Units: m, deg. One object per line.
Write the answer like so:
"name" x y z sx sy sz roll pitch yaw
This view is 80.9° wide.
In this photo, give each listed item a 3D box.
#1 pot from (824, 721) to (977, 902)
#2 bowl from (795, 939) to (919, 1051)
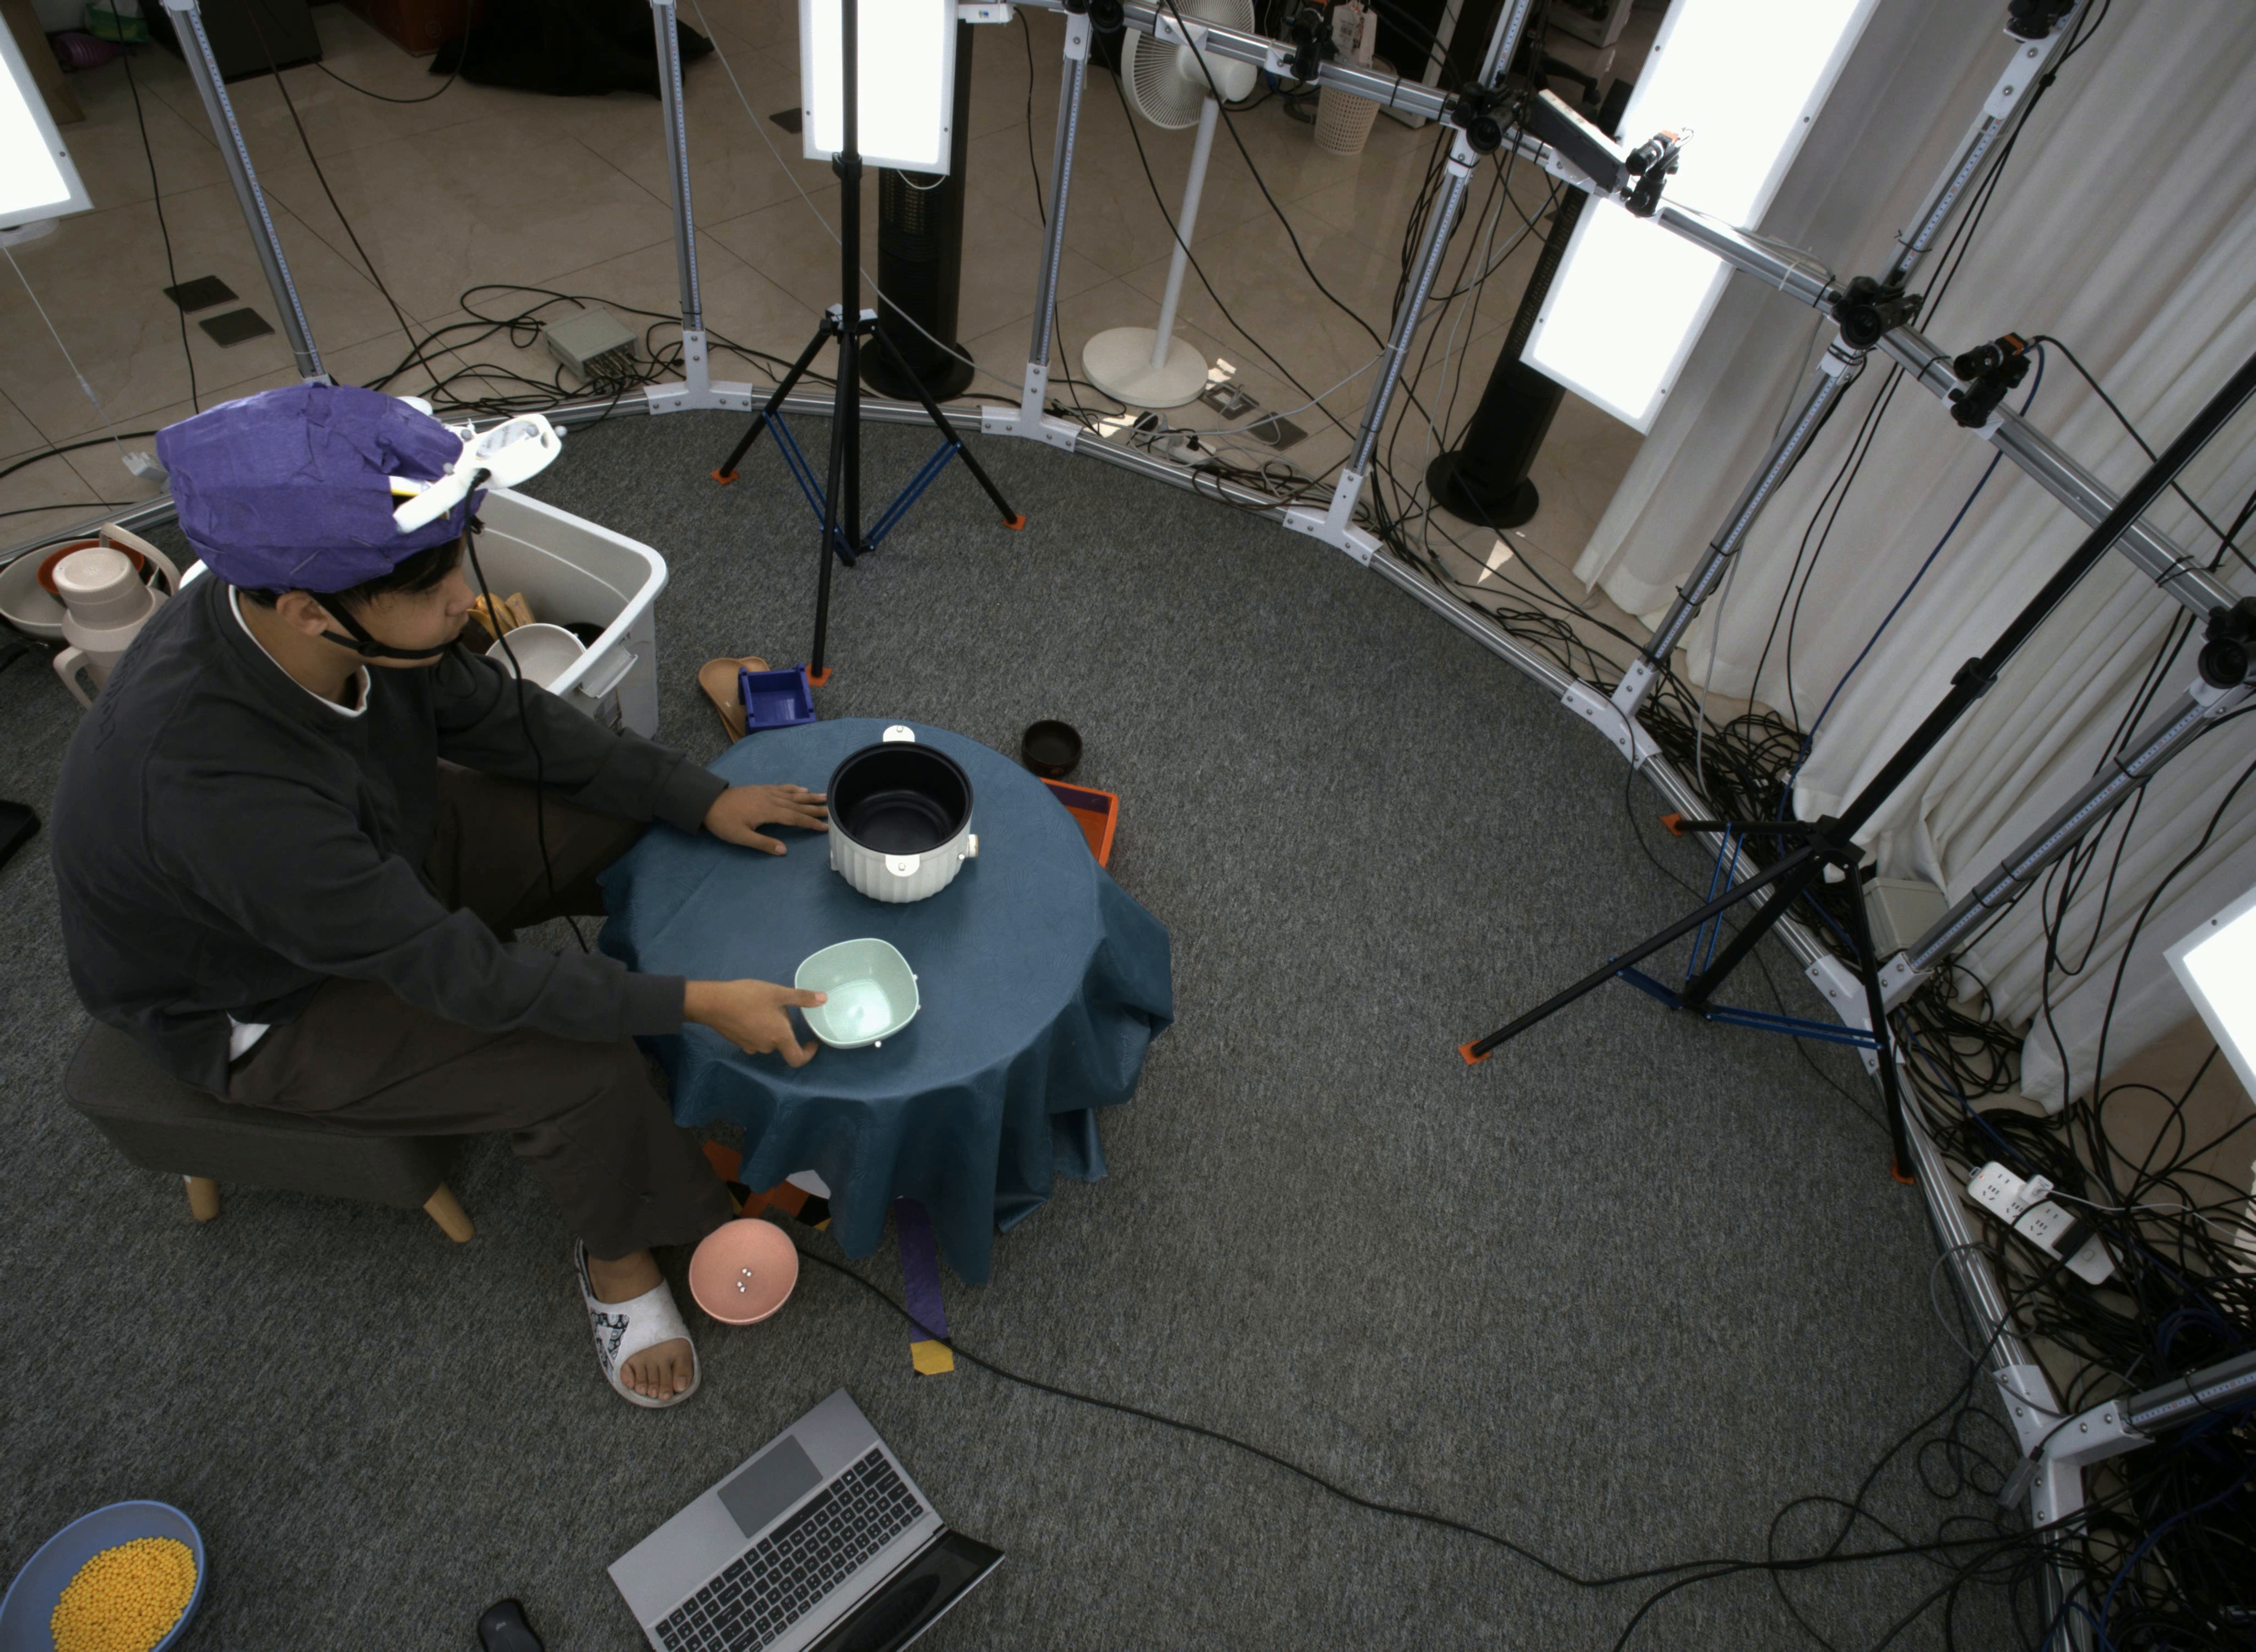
"pot" -0.289 -0.003 1.665 0.190 0.146 0.235 -4 56 -11
"bowl" -0.324 0.210 1.552 0.151 0.060 0.149 9 51 -9
